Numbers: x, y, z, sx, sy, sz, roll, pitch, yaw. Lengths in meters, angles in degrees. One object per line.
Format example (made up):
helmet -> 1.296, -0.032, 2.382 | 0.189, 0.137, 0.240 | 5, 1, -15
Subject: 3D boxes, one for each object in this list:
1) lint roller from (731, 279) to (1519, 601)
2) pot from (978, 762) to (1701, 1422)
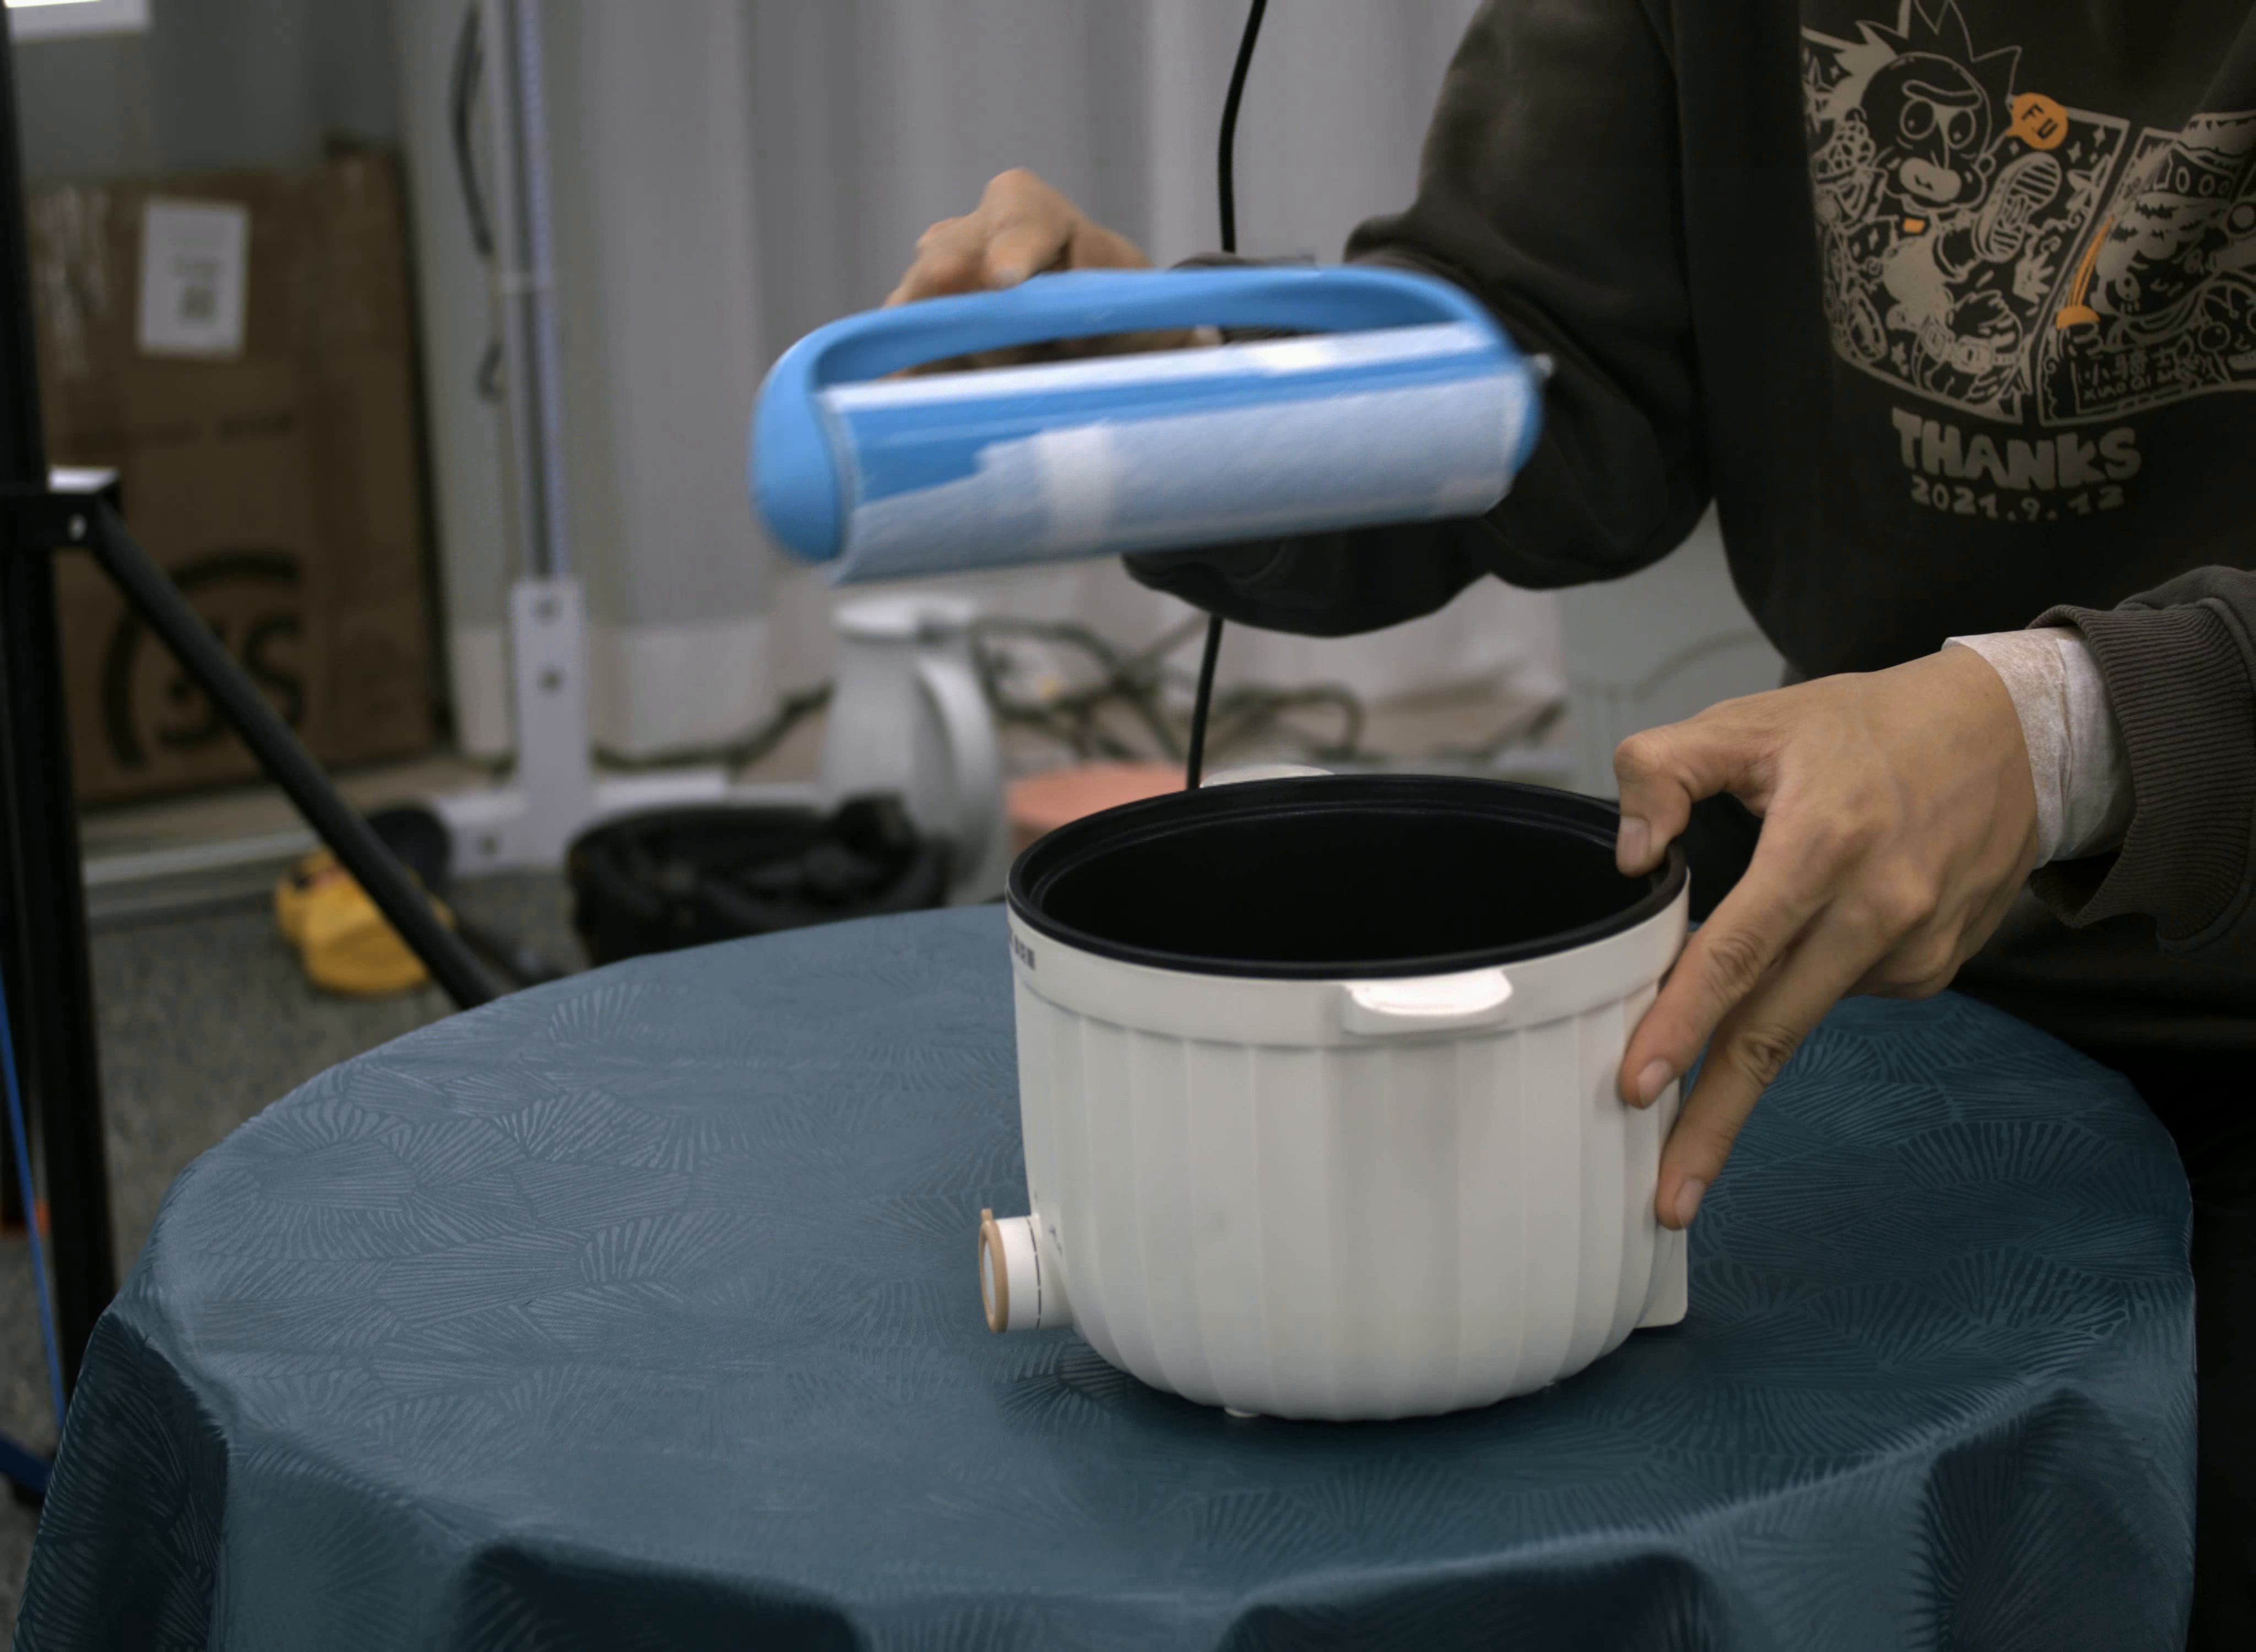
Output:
lint roller -> -0.022, -0.122, 1.516 | 0.225, 0.068, 0.184 | -10, 25, -19
pot -> 0.056, 0.074, 1.416 | 0.188, 0.143, 0.243 | -2, 14, -10
